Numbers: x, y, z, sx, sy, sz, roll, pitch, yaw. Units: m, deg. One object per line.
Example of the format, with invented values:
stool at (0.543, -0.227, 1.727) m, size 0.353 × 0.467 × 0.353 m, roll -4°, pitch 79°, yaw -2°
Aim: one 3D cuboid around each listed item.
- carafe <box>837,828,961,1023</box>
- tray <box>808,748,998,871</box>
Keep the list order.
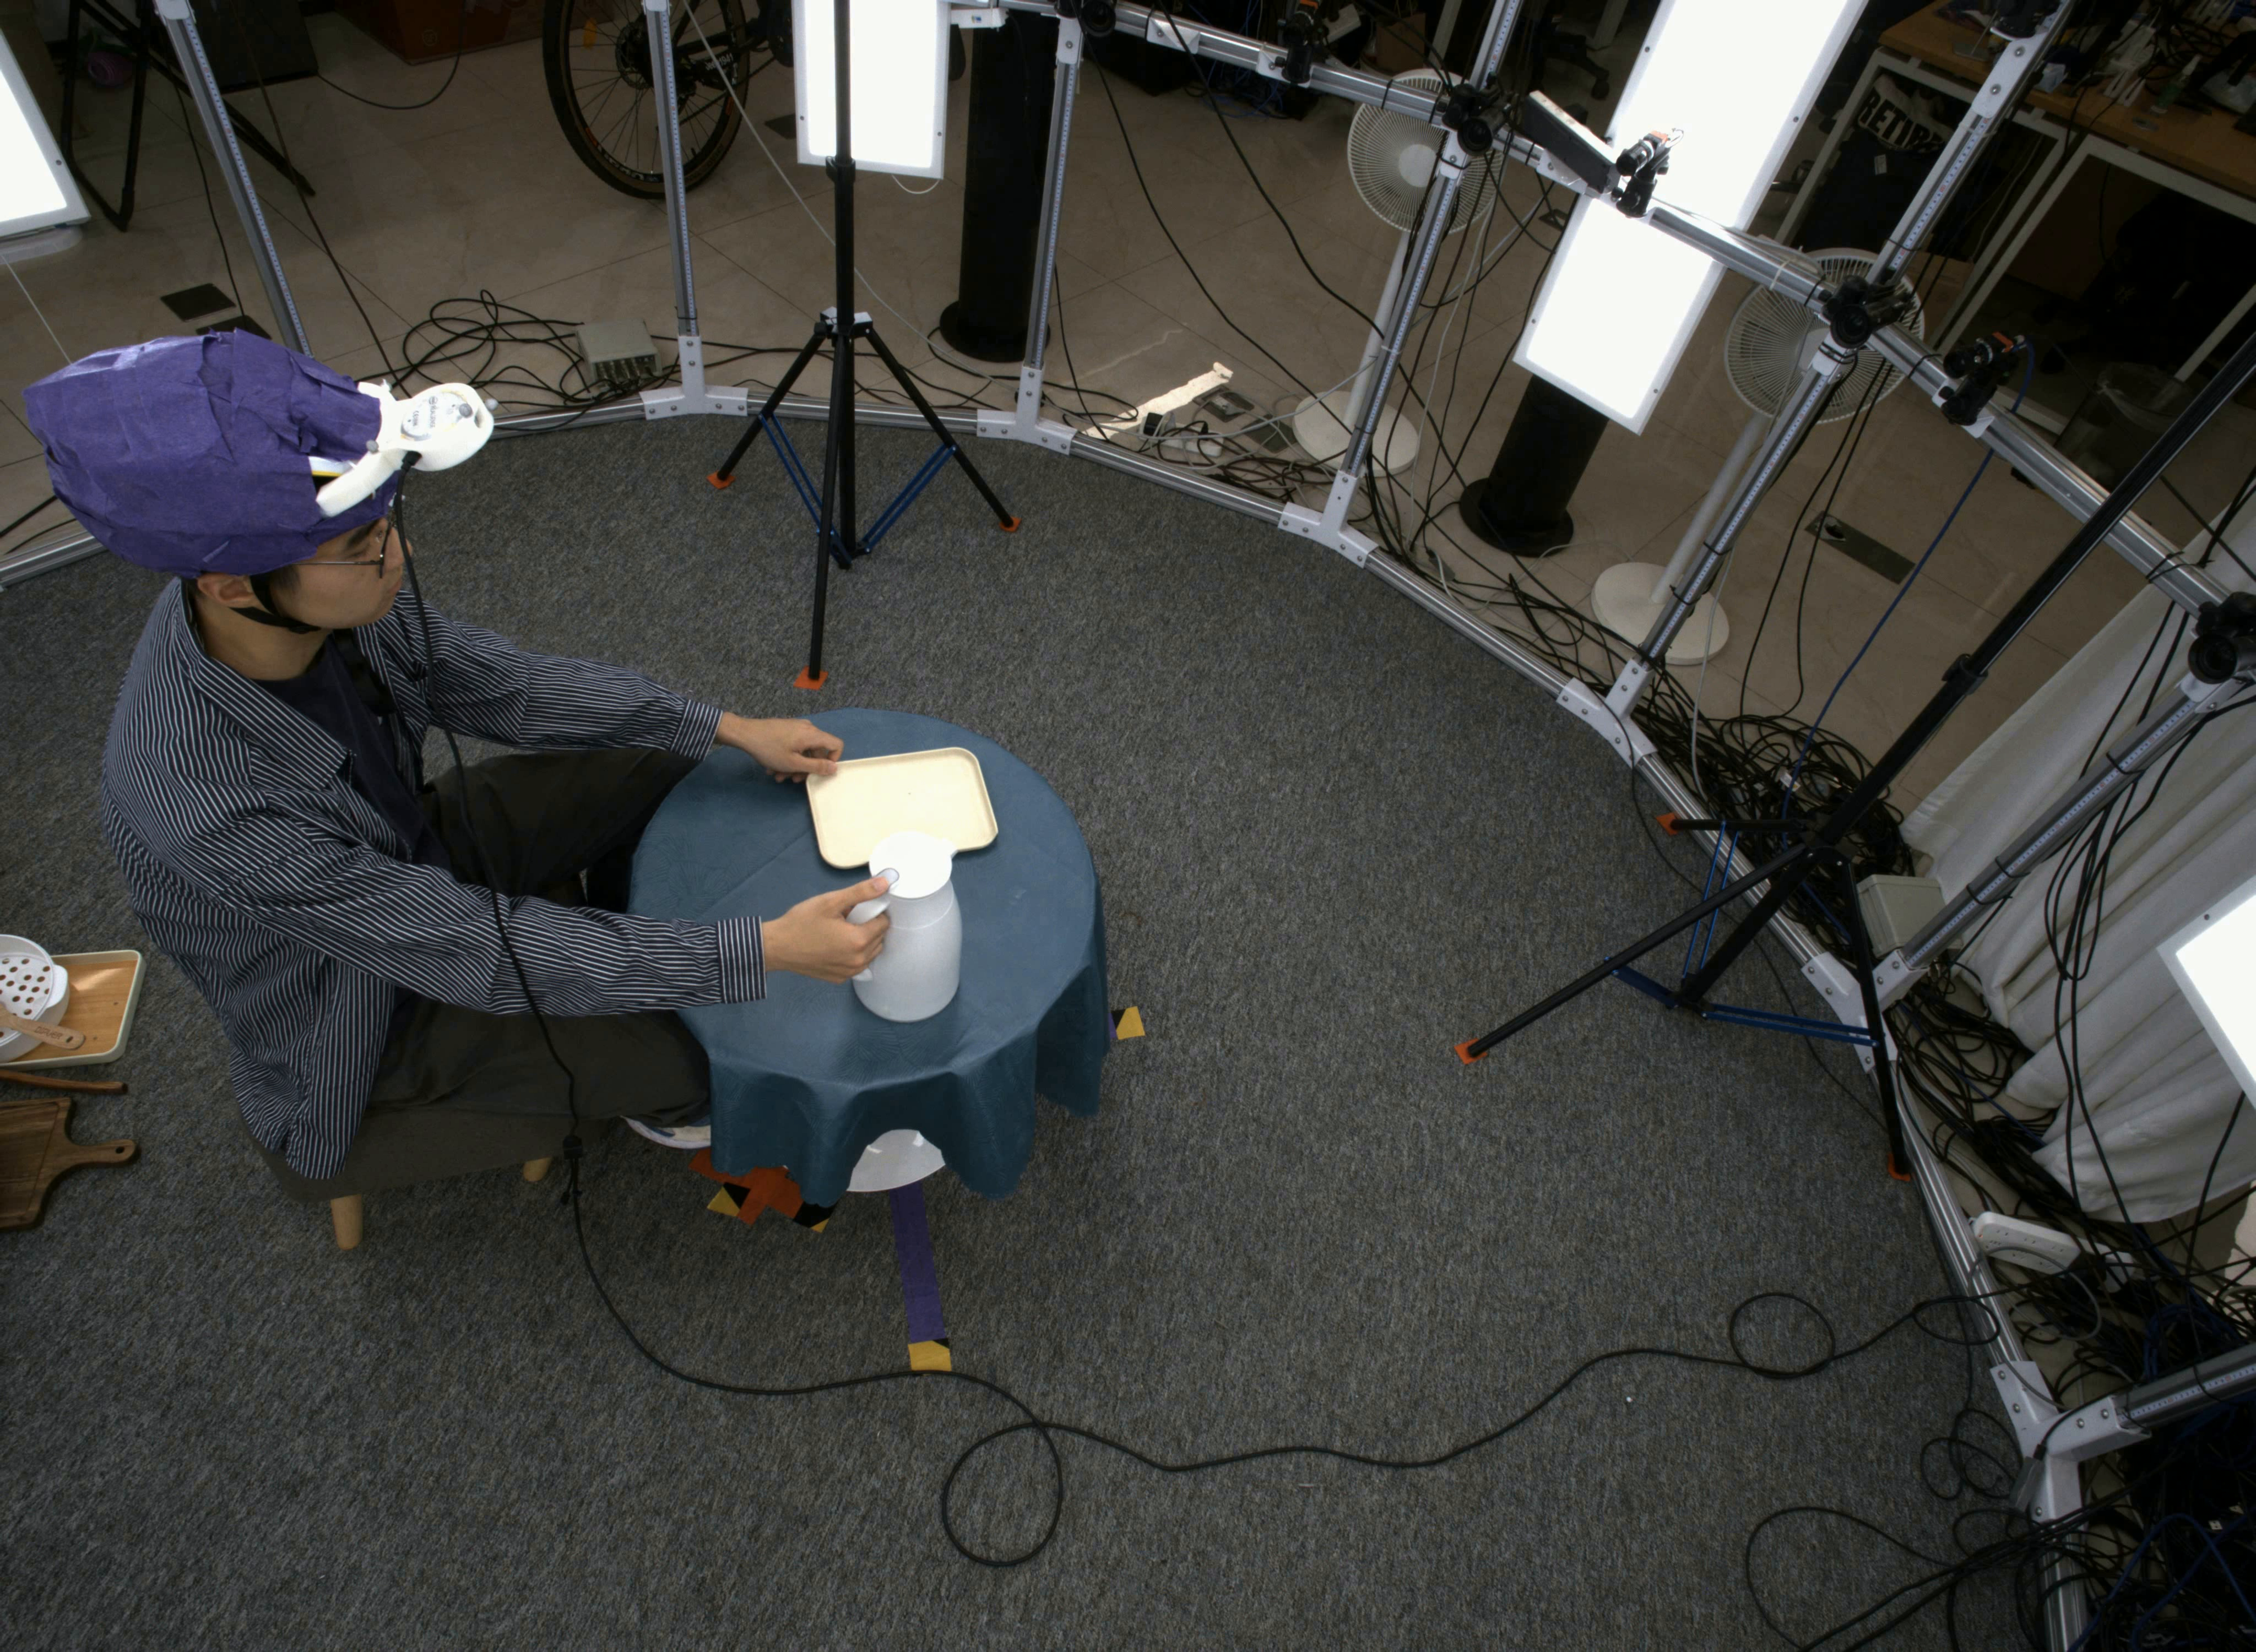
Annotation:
carafe at (-0.272, 0.122, 1.524) m, size 0.130 × 0.254 × 0.168 m, roll 36°, pitch 55°, yaw 16°
tray at (-0.306, -0.024, 1.770) m, size 0.240 × 0.018 × 0.167 m, roll -9°, pitch 60°, yaw -20°
